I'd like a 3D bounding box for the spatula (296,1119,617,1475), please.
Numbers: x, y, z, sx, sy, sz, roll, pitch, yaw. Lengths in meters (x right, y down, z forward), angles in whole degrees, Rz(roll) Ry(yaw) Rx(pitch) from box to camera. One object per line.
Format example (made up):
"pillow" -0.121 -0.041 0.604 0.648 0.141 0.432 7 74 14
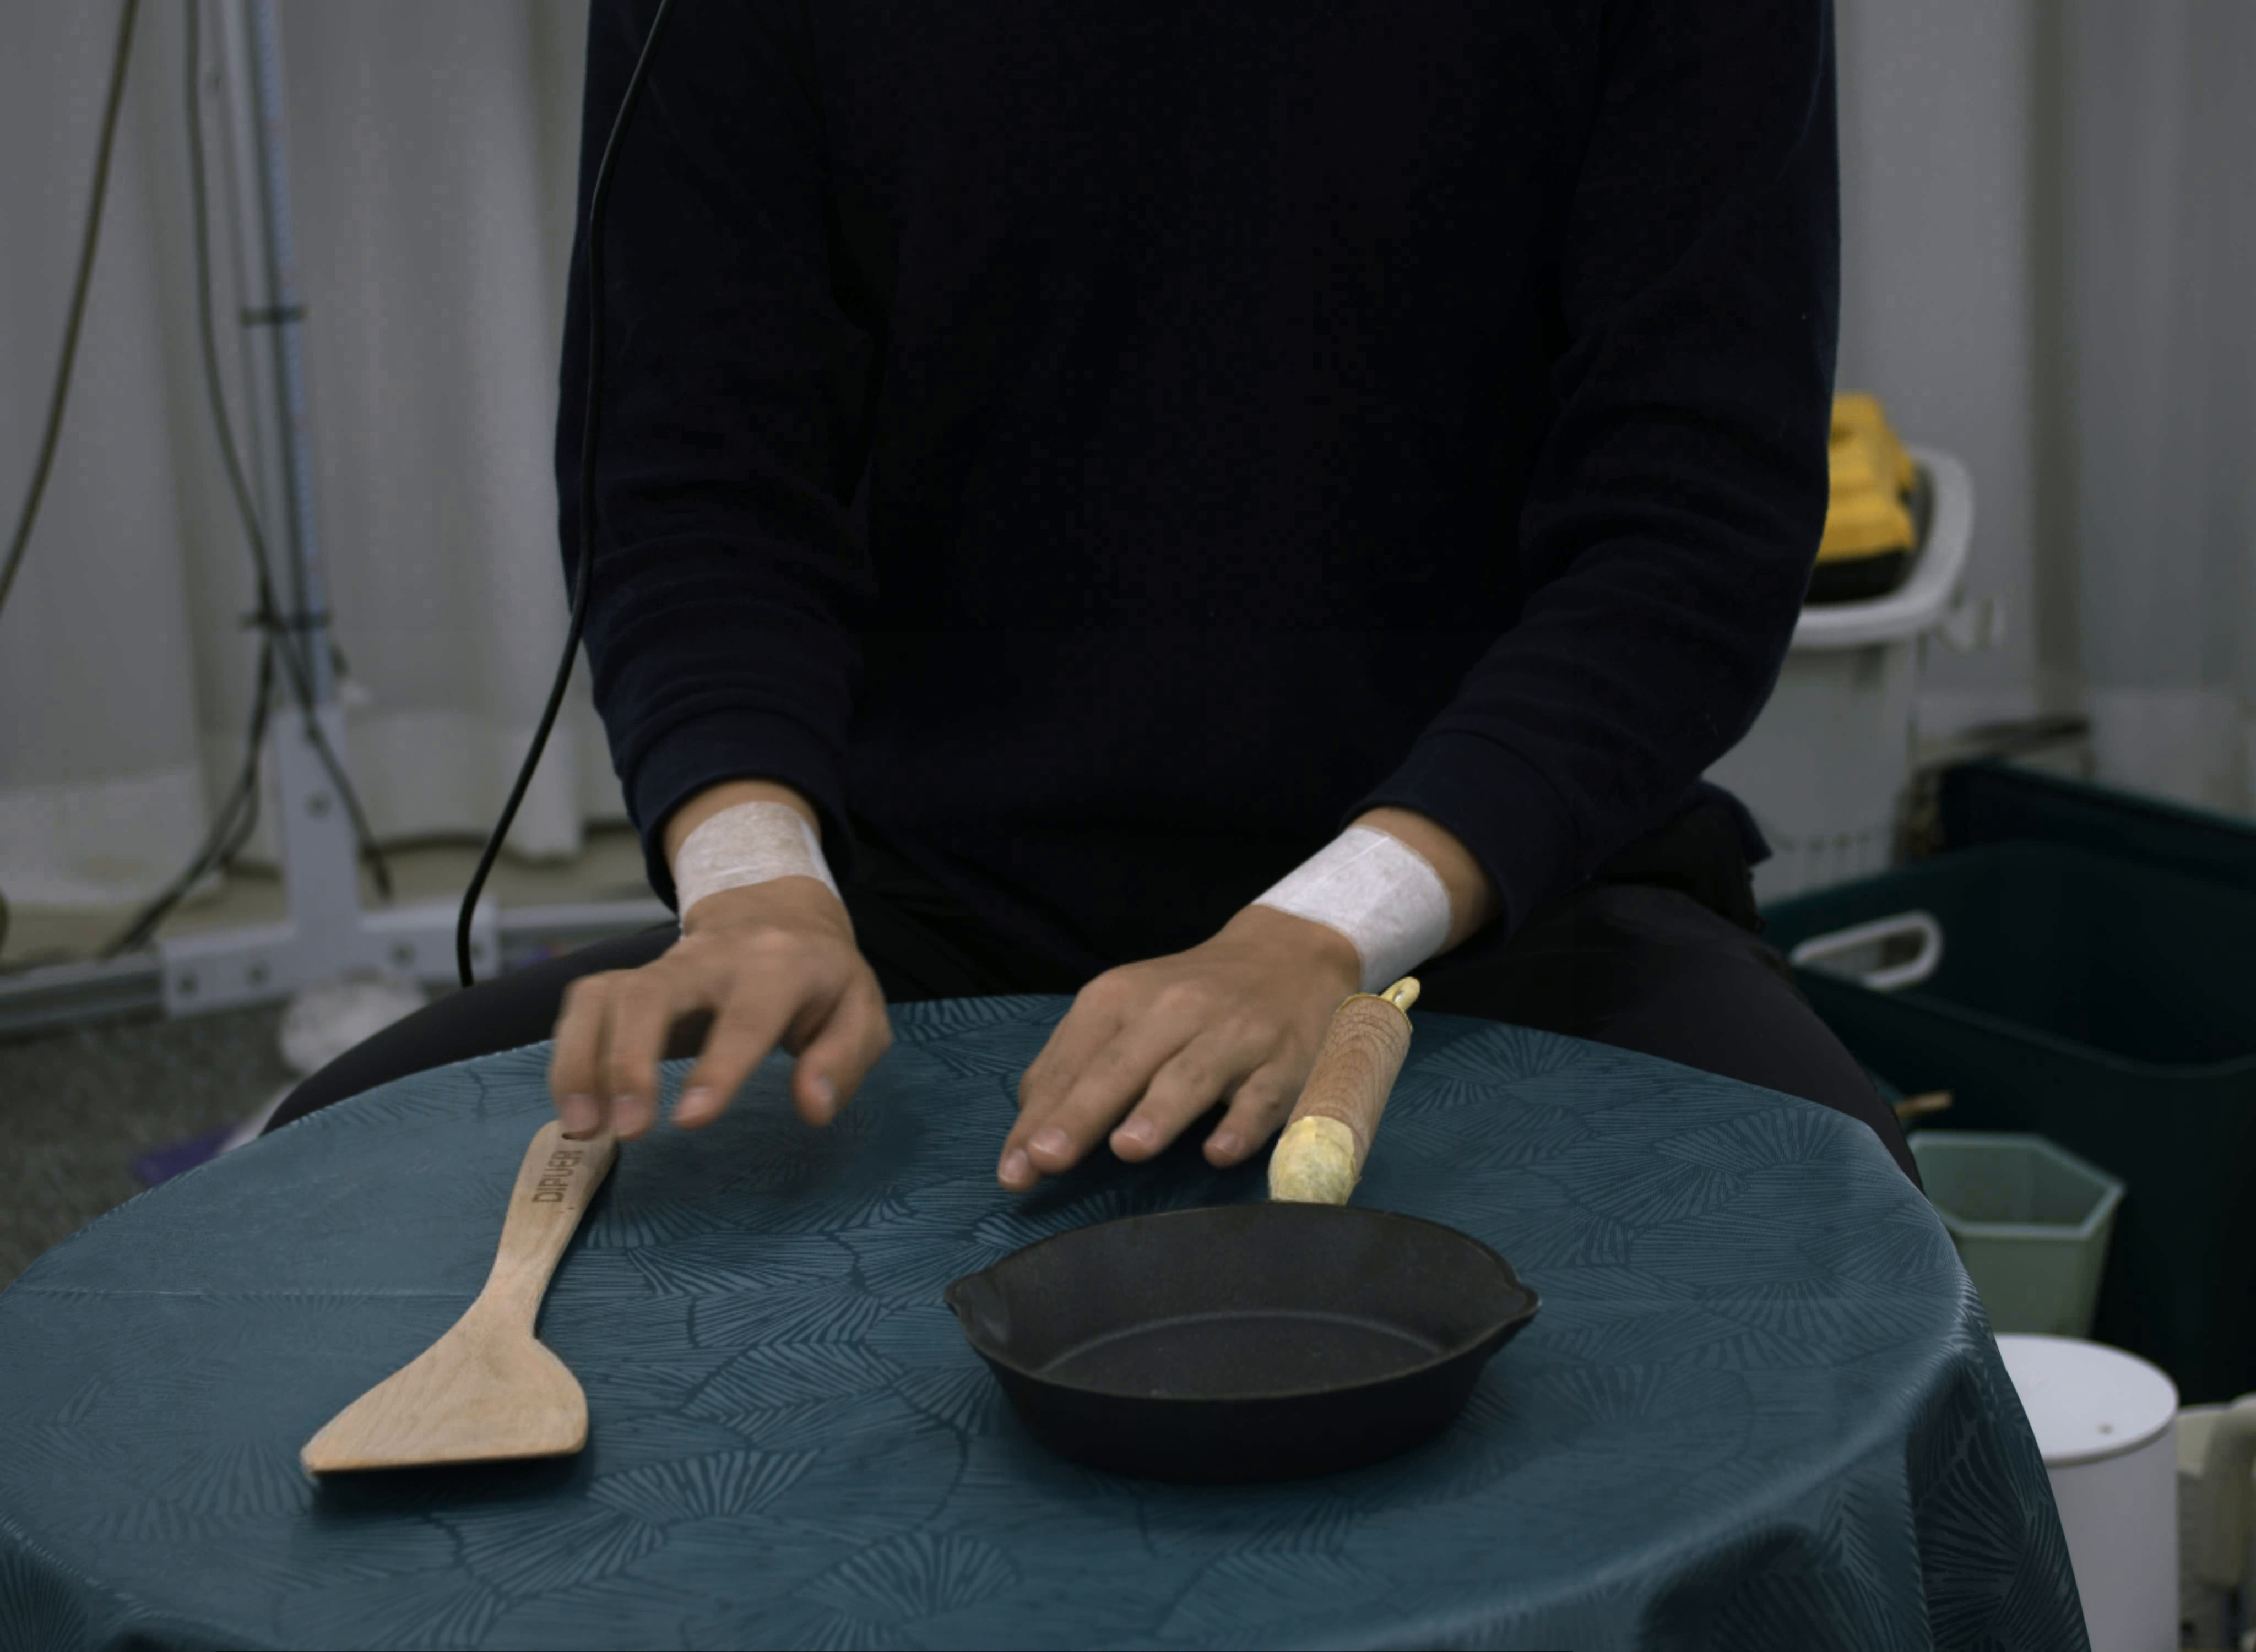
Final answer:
"spatula" -0.183 0.137 1.635 0.080 0.016 0.330 -1 15 2

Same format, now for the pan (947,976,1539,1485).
"pan" 0.052 0.115 1.606 0.169 0.049 0.326 1 17 14
